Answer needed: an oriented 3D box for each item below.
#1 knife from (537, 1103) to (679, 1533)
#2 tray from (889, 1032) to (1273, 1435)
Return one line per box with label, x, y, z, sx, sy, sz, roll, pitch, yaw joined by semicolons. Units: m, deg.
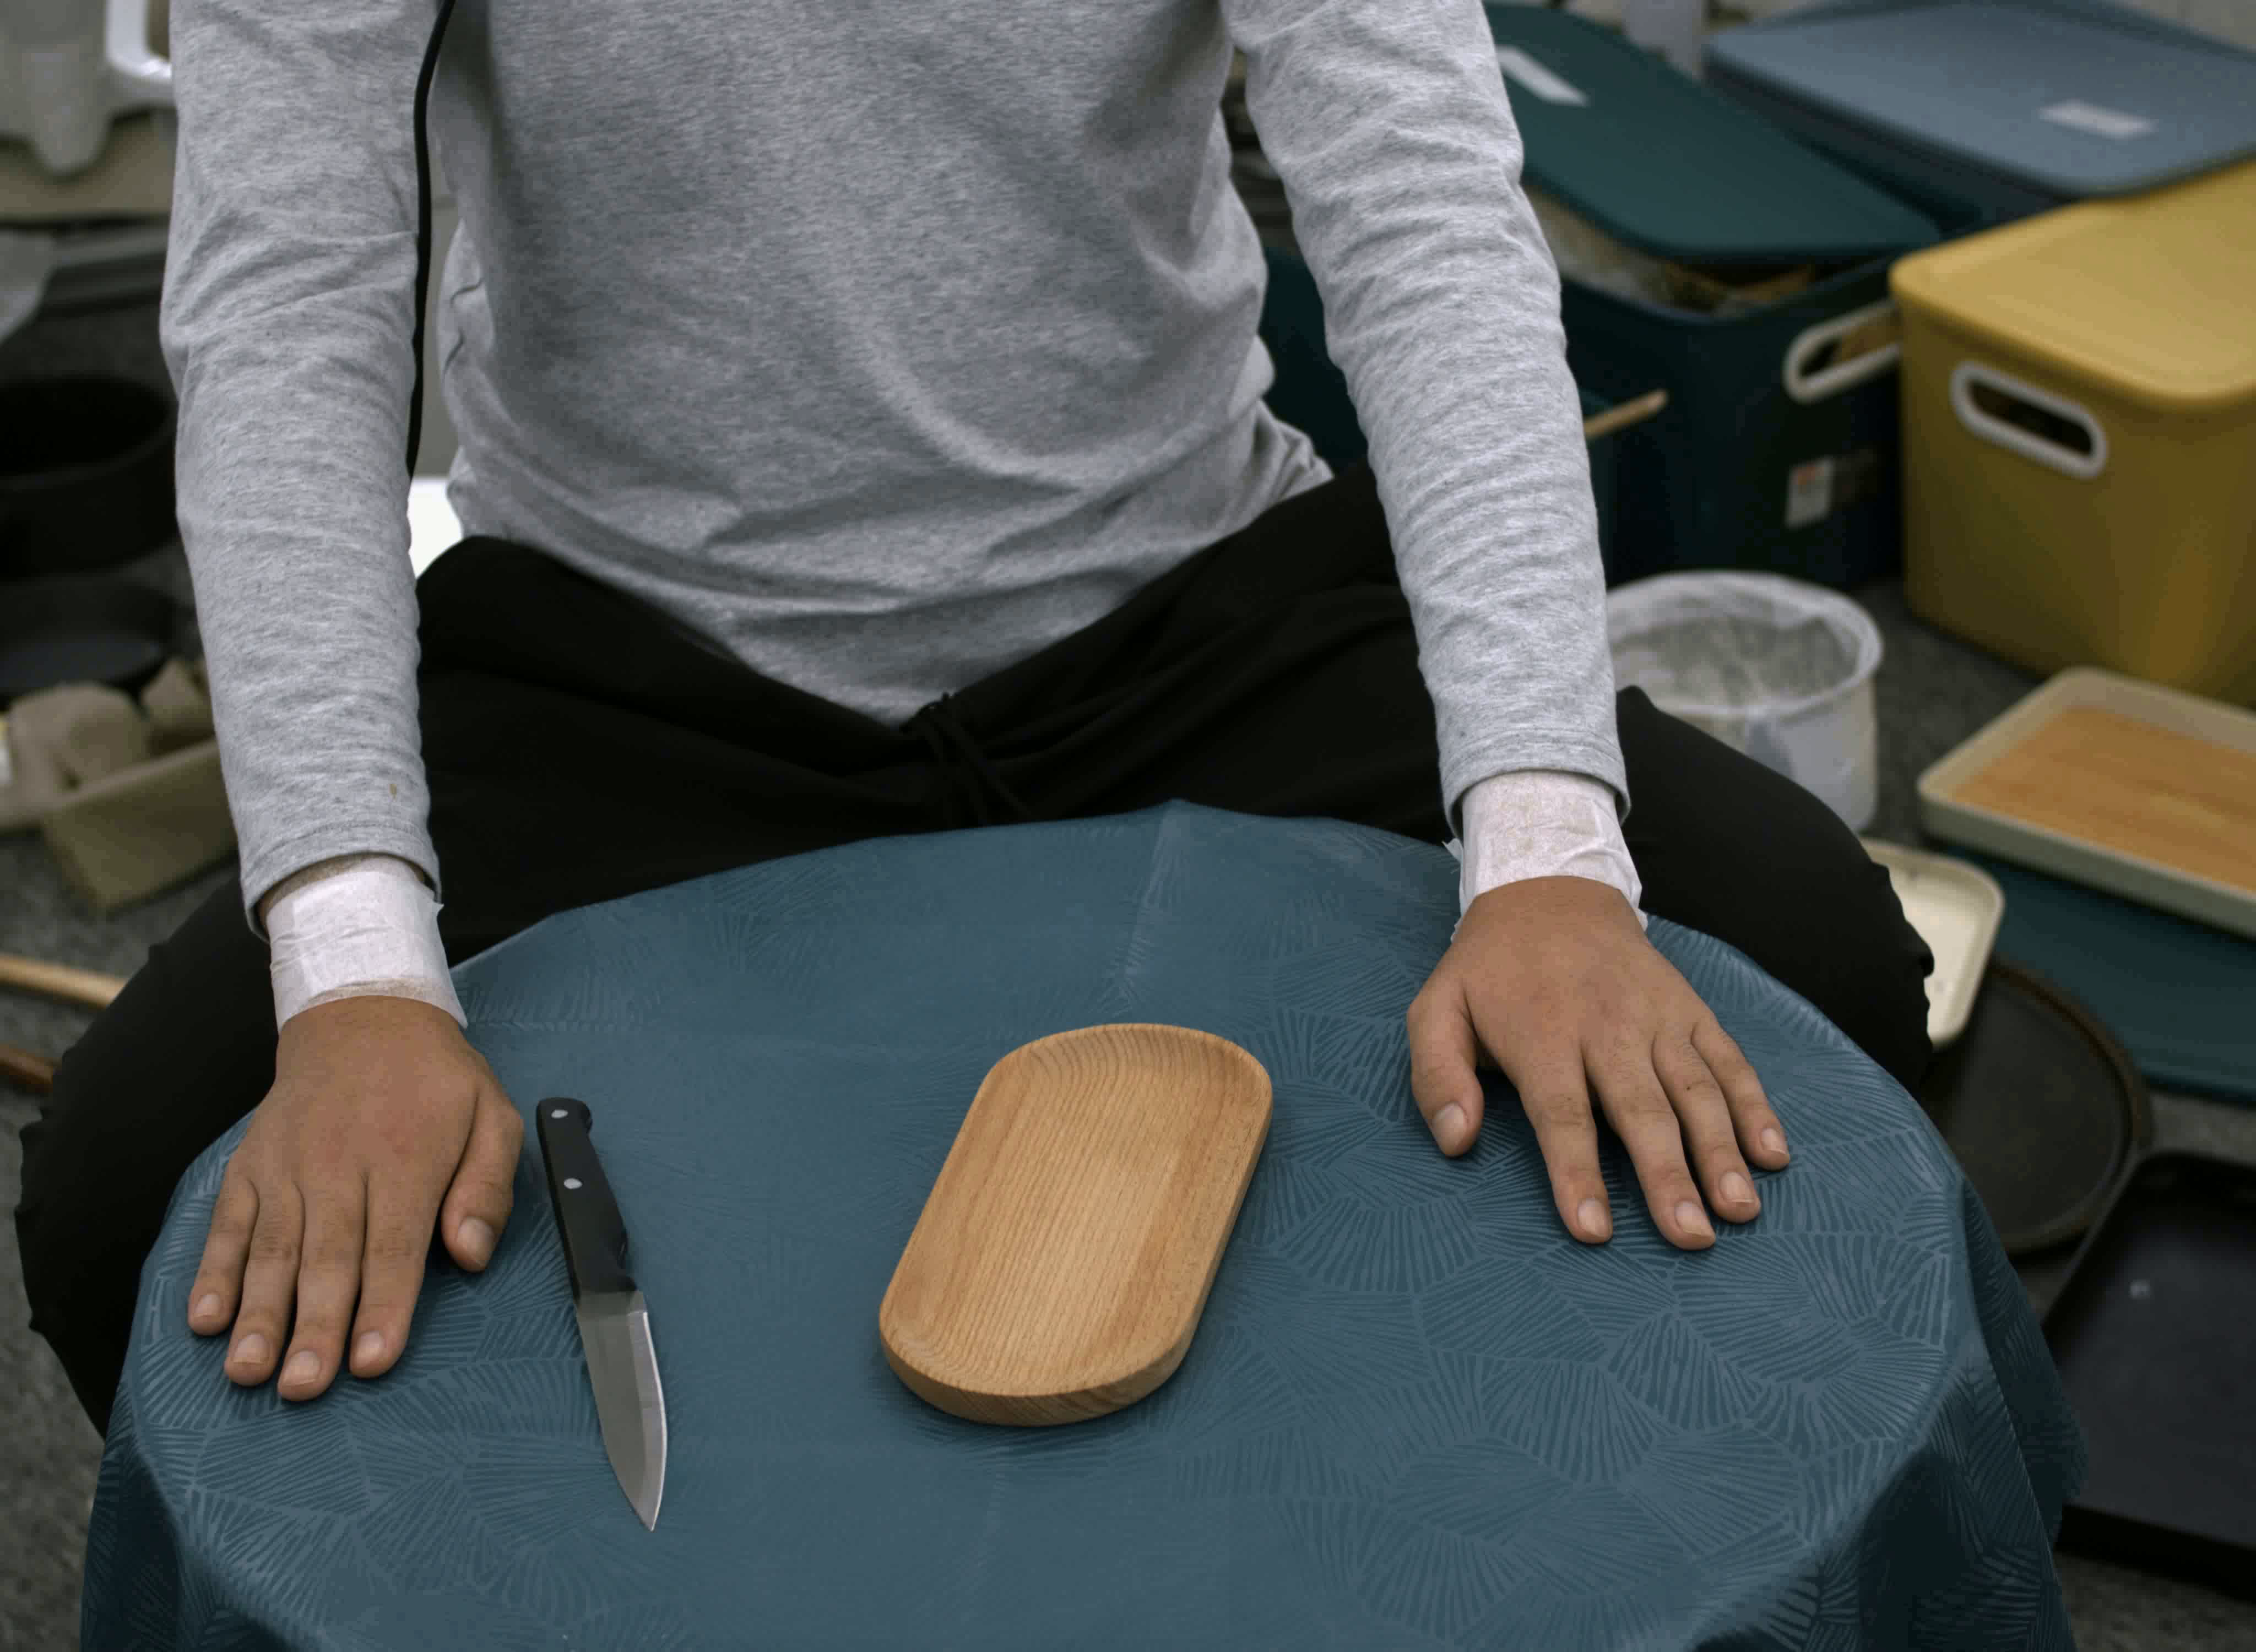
knife;-0.167;0.157;1.797;0.024;0.016;0.241;-6;30;-11
tray;-0.013;0.130;1.830;0.101;0.020;0.235;1;29;10
